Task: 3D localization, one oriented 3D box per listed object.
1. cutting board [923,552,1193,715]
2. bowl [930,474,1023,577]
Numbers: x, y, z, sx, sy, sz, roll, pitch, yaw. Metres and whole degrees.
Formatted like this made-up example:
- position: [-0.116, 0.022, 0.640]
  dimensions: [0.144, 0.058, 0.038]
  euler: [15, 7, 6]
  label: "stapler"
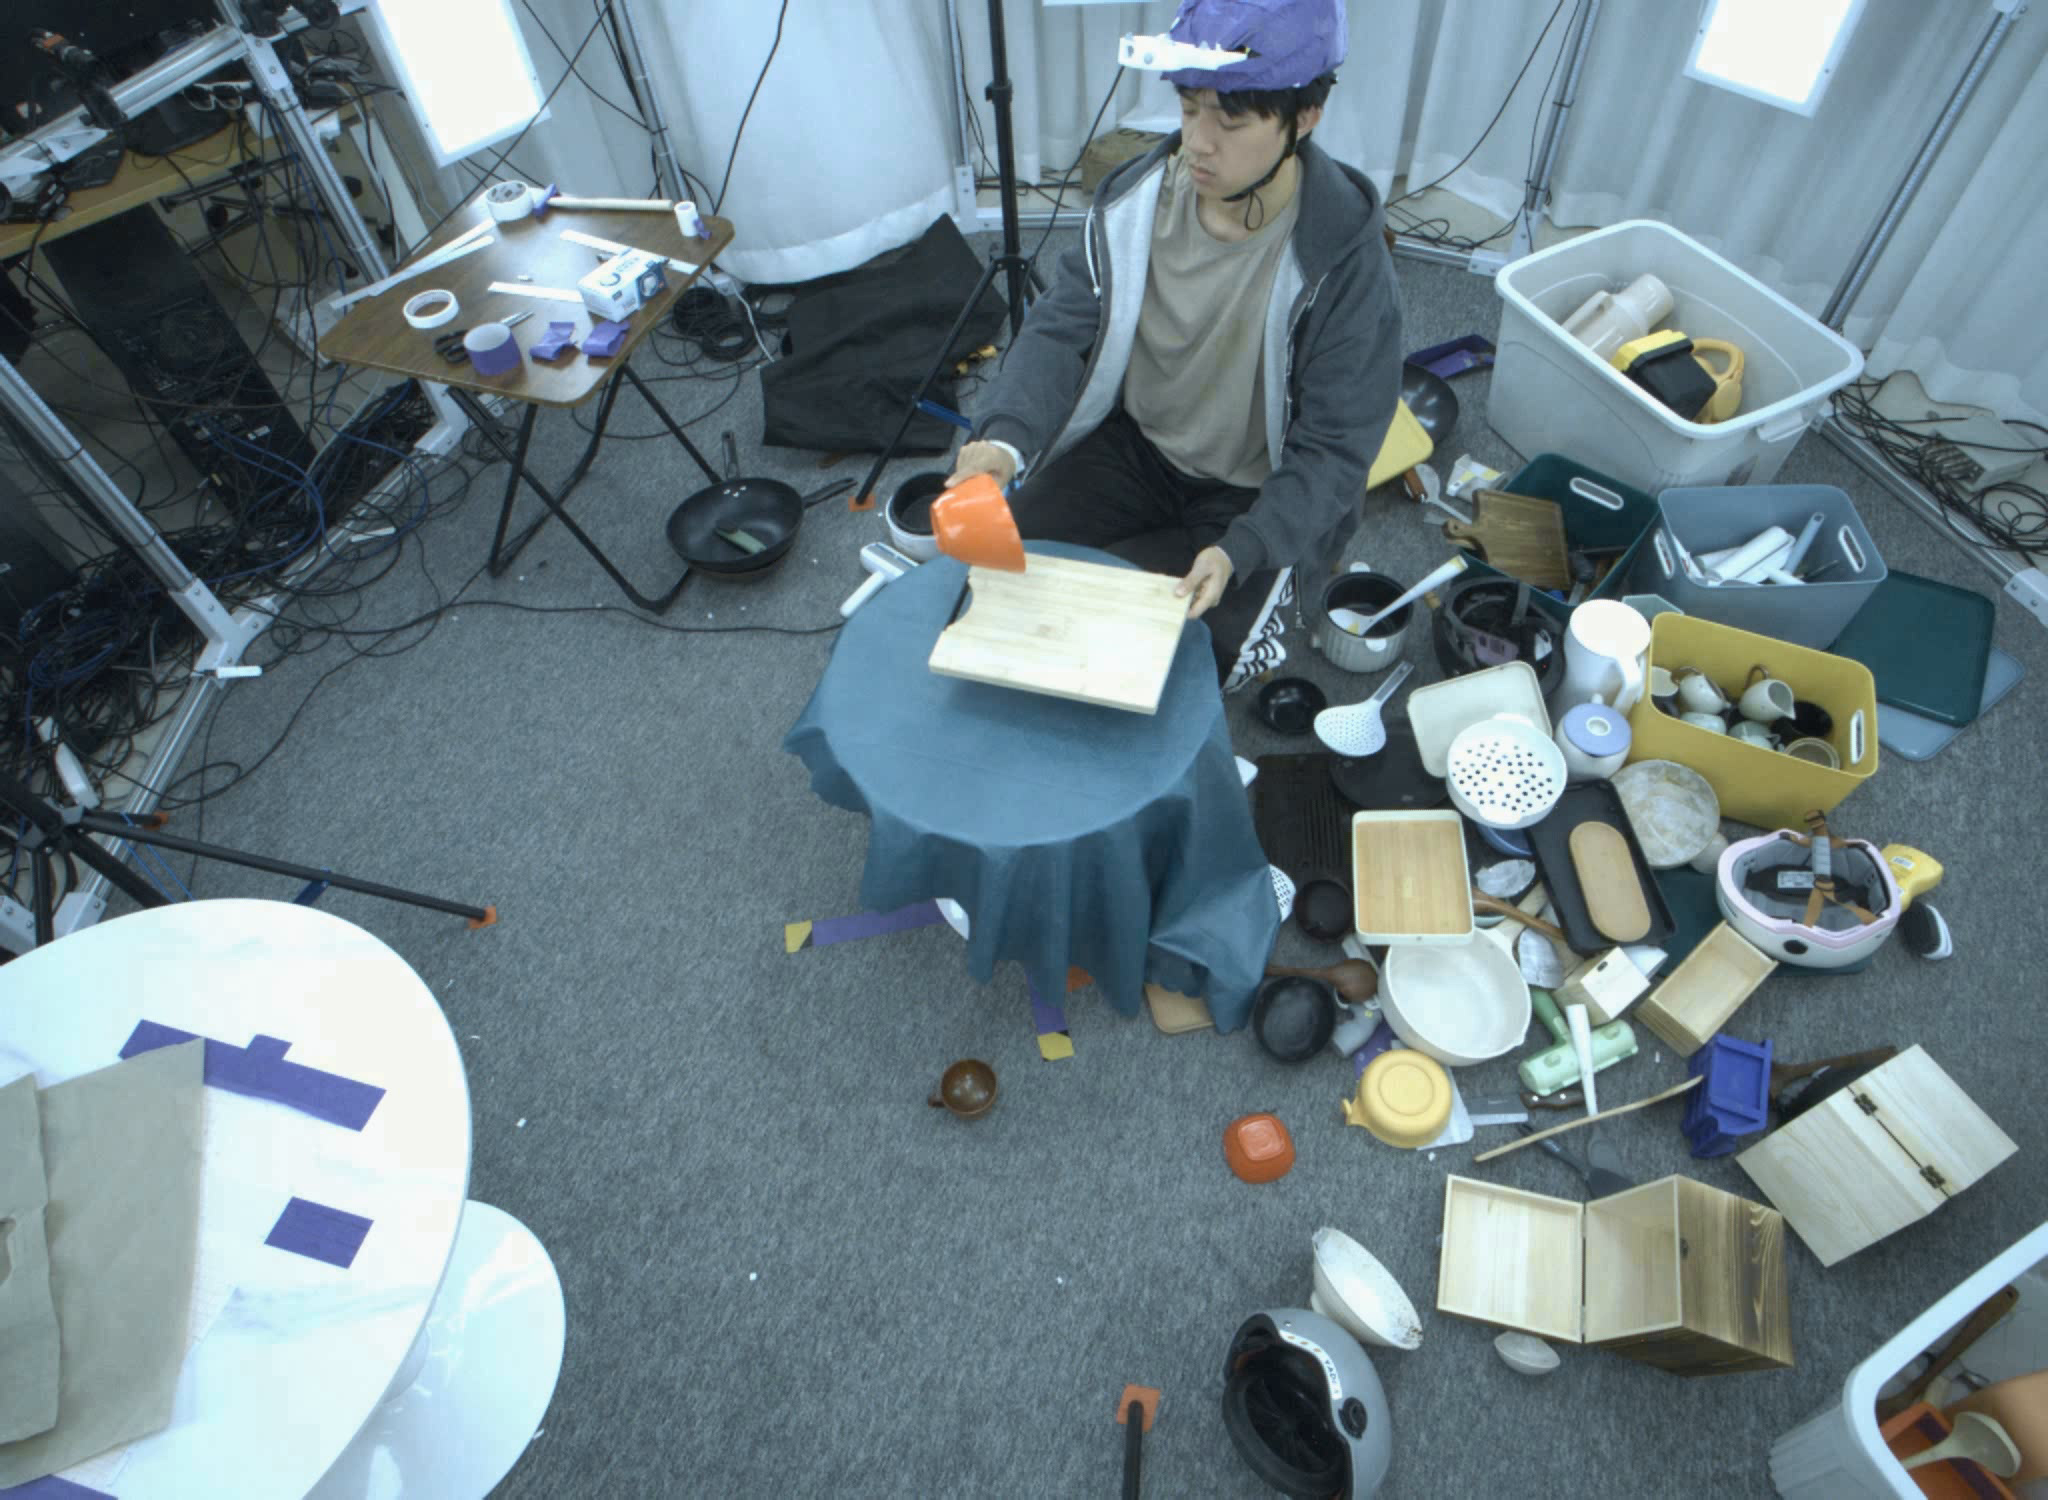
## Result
- position: [0.052, -0.184, 1.812]
  dimensions: [0.345, 0.024, 0.250]
  euler: [12, 59, 13]
  label: "cutting board"
- position: [-0.070, -0.298, 1.665]
  dimensions: [0.105, 0.149, 0.145]
  euler: [-13, 55, -8]
  label: "bowl"
